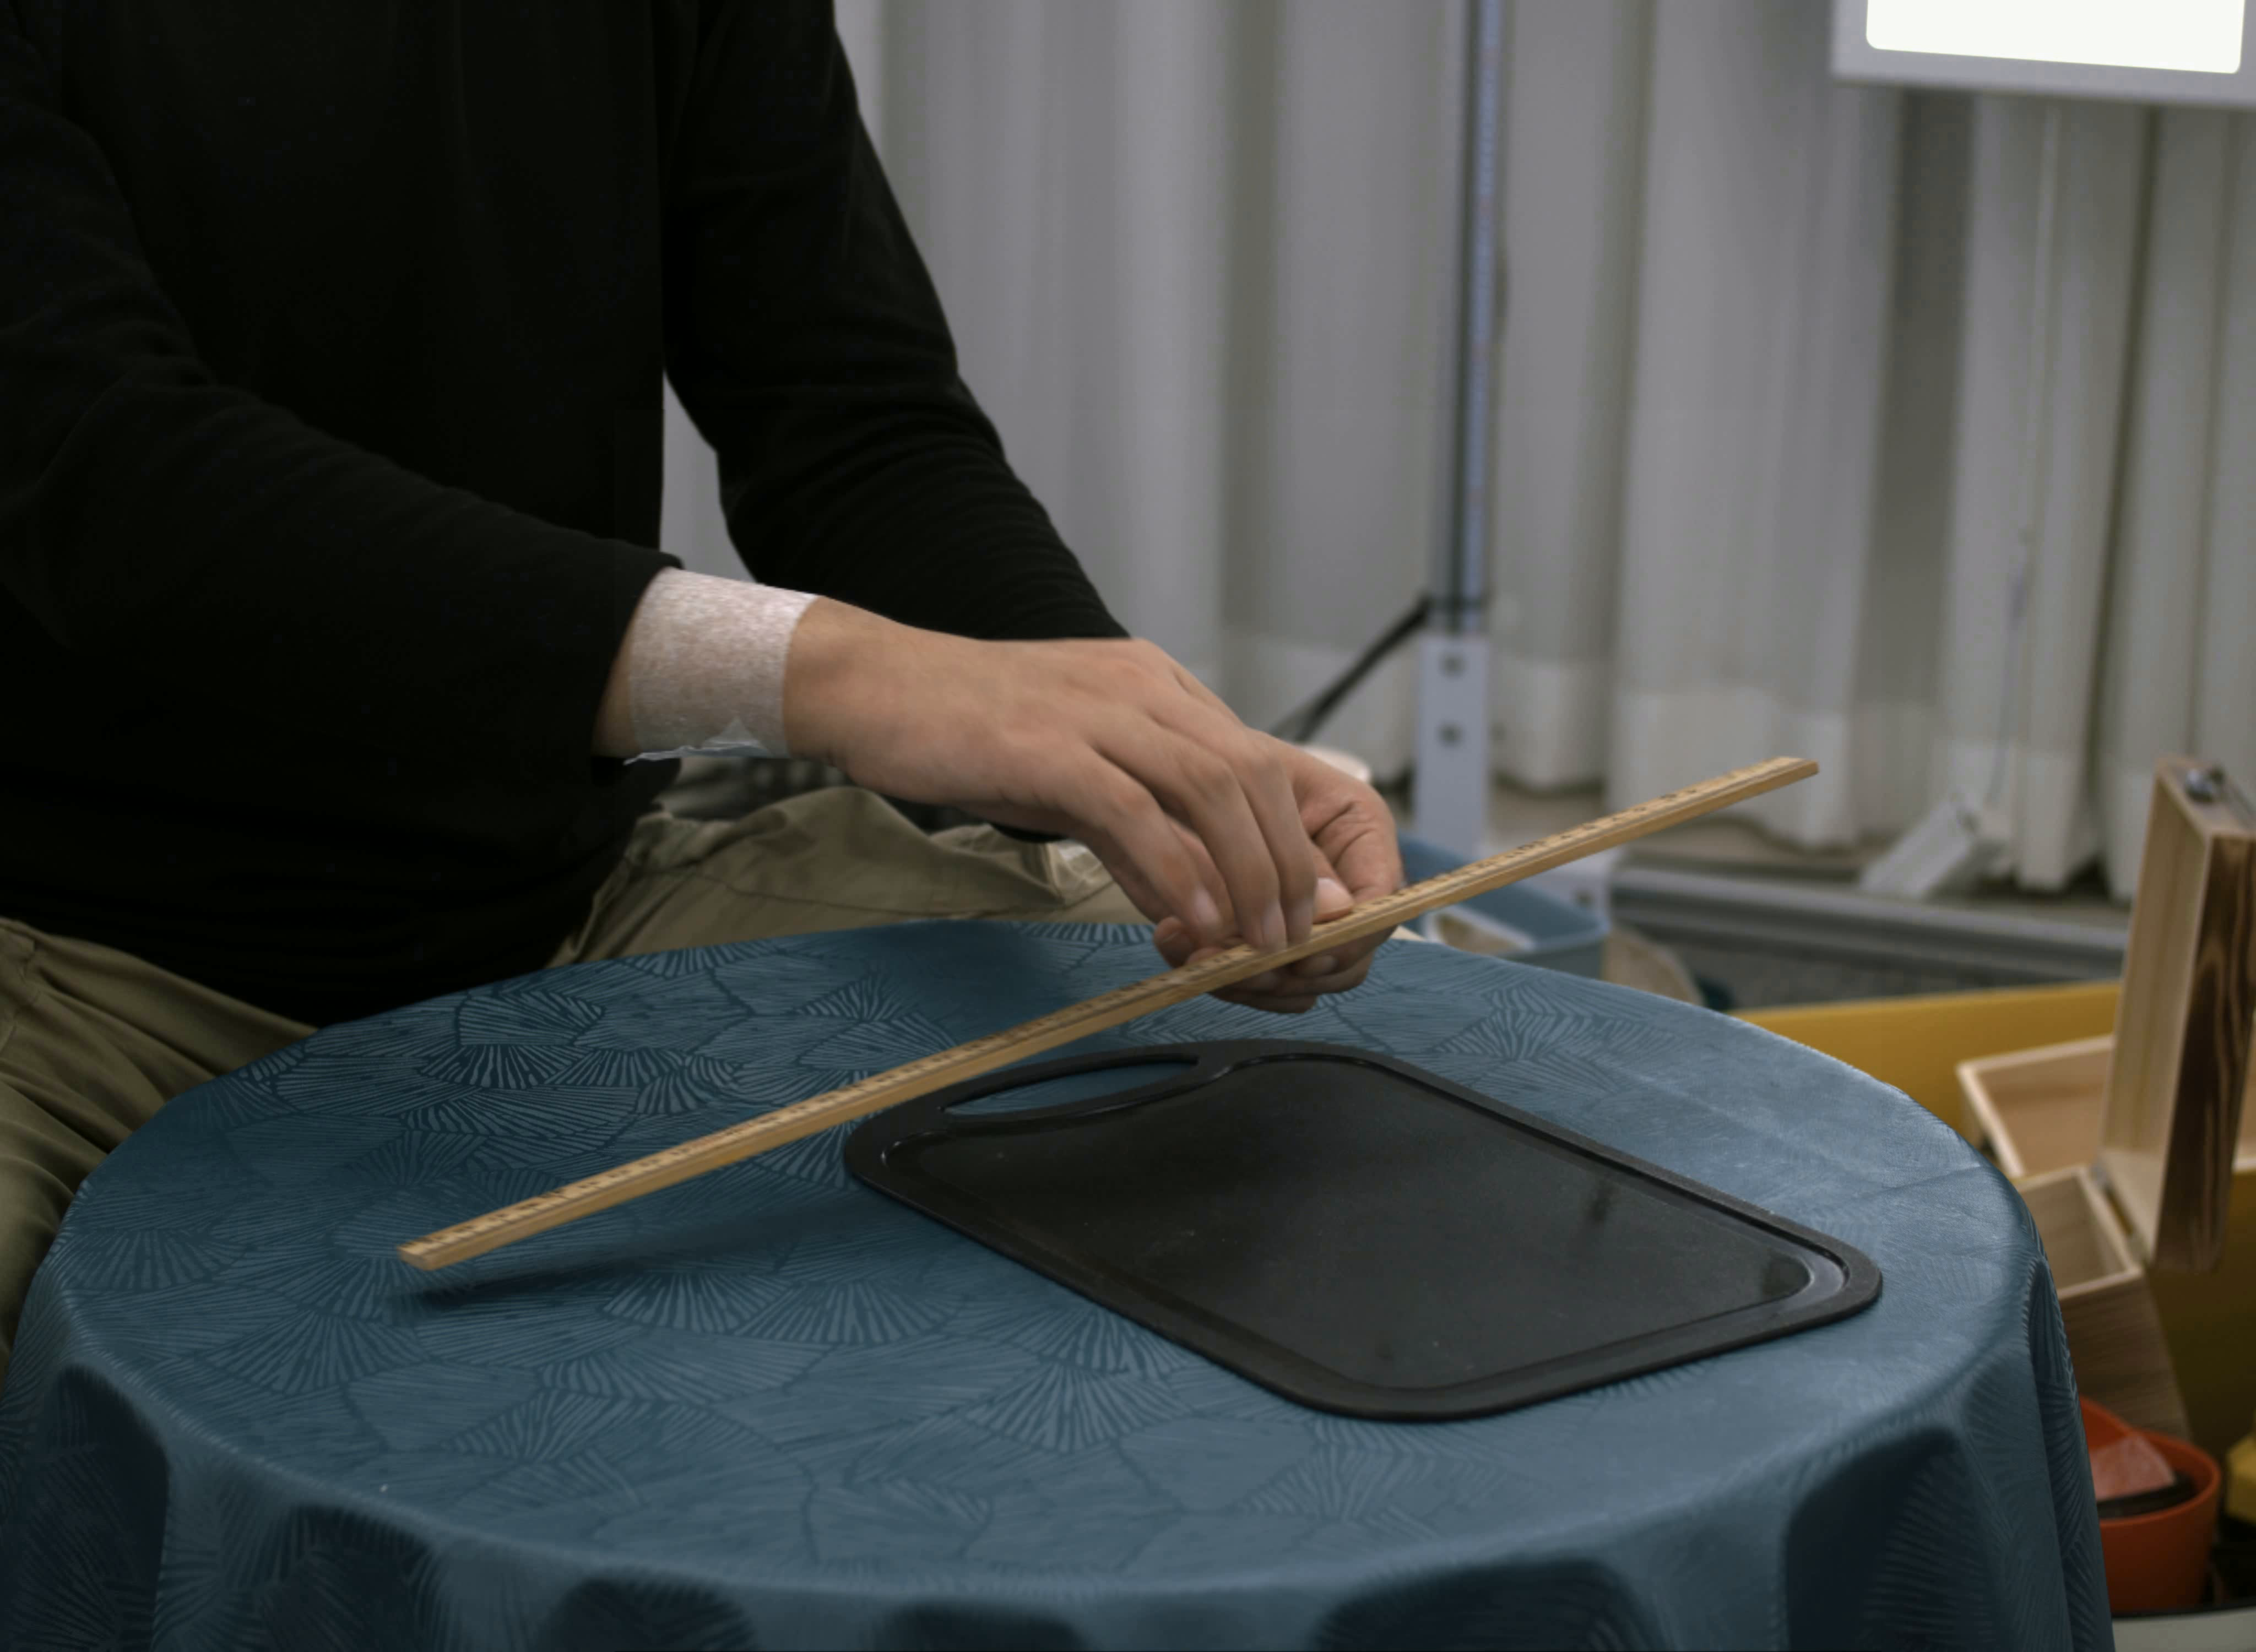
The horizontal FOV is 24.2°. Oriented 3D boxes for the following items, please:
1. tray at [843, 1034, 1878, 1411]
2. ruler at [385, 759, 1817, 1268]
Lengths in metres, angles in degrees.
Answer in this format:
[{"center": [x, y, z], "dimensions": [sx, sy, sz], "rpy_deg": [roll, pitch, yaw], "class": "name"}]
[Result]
[{"center": [0.060, 0.113, 1.604], "dimensions": [0.212, 0.010, 0.321], "rpy_deg": [-10, 19, -34], "class": "tray"}, {"center": [0.003, 0.052, 1.625], "dimensions": [0.501, 0.006, 0.026], "rpy_deg": [-19, 8, -25], "class": "ruler"}]
